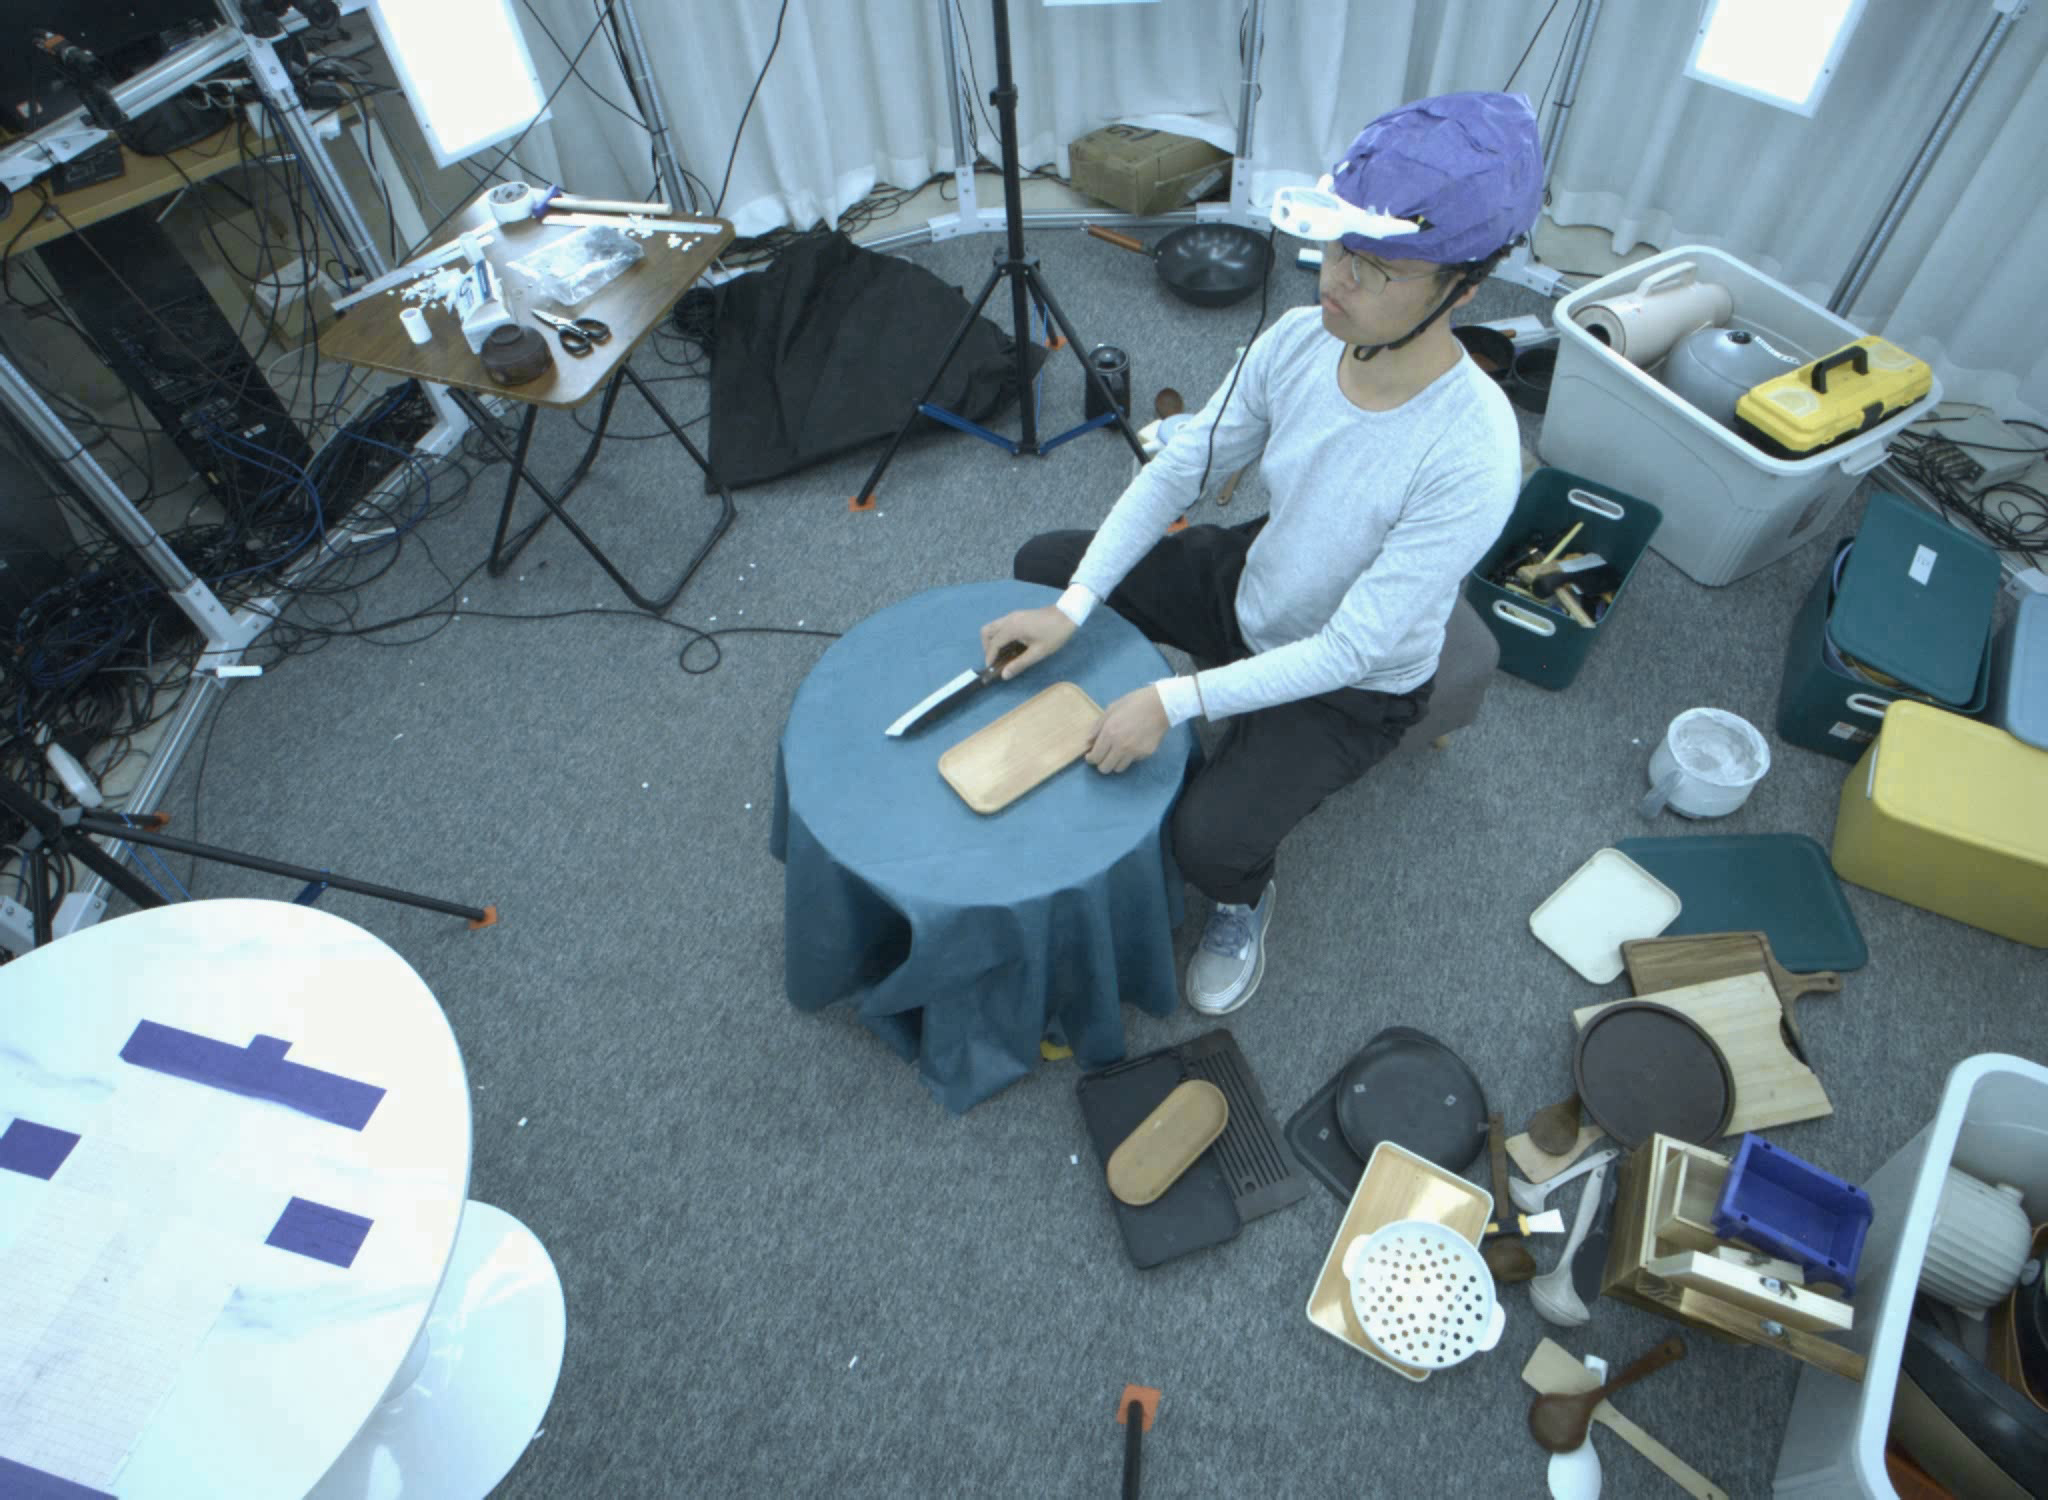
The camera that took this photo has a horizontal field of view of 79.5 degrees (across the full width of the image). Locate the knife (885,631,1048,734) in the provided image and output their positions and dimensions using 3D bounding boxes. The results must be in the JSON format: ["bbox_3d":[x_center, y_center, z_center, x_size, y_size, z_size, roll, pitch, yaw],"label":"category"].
[{"bbox_3d":[-0.086,-0.100,1.843,0.291,0.020,0.049,-33,50,-16],"label":"knife"}]

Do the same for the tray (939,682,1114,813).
[{"bbox_3d":[0.004,-0.005,1.789,0.253,0.023,0.128,-31,62,-20],"label":"tray"}]
